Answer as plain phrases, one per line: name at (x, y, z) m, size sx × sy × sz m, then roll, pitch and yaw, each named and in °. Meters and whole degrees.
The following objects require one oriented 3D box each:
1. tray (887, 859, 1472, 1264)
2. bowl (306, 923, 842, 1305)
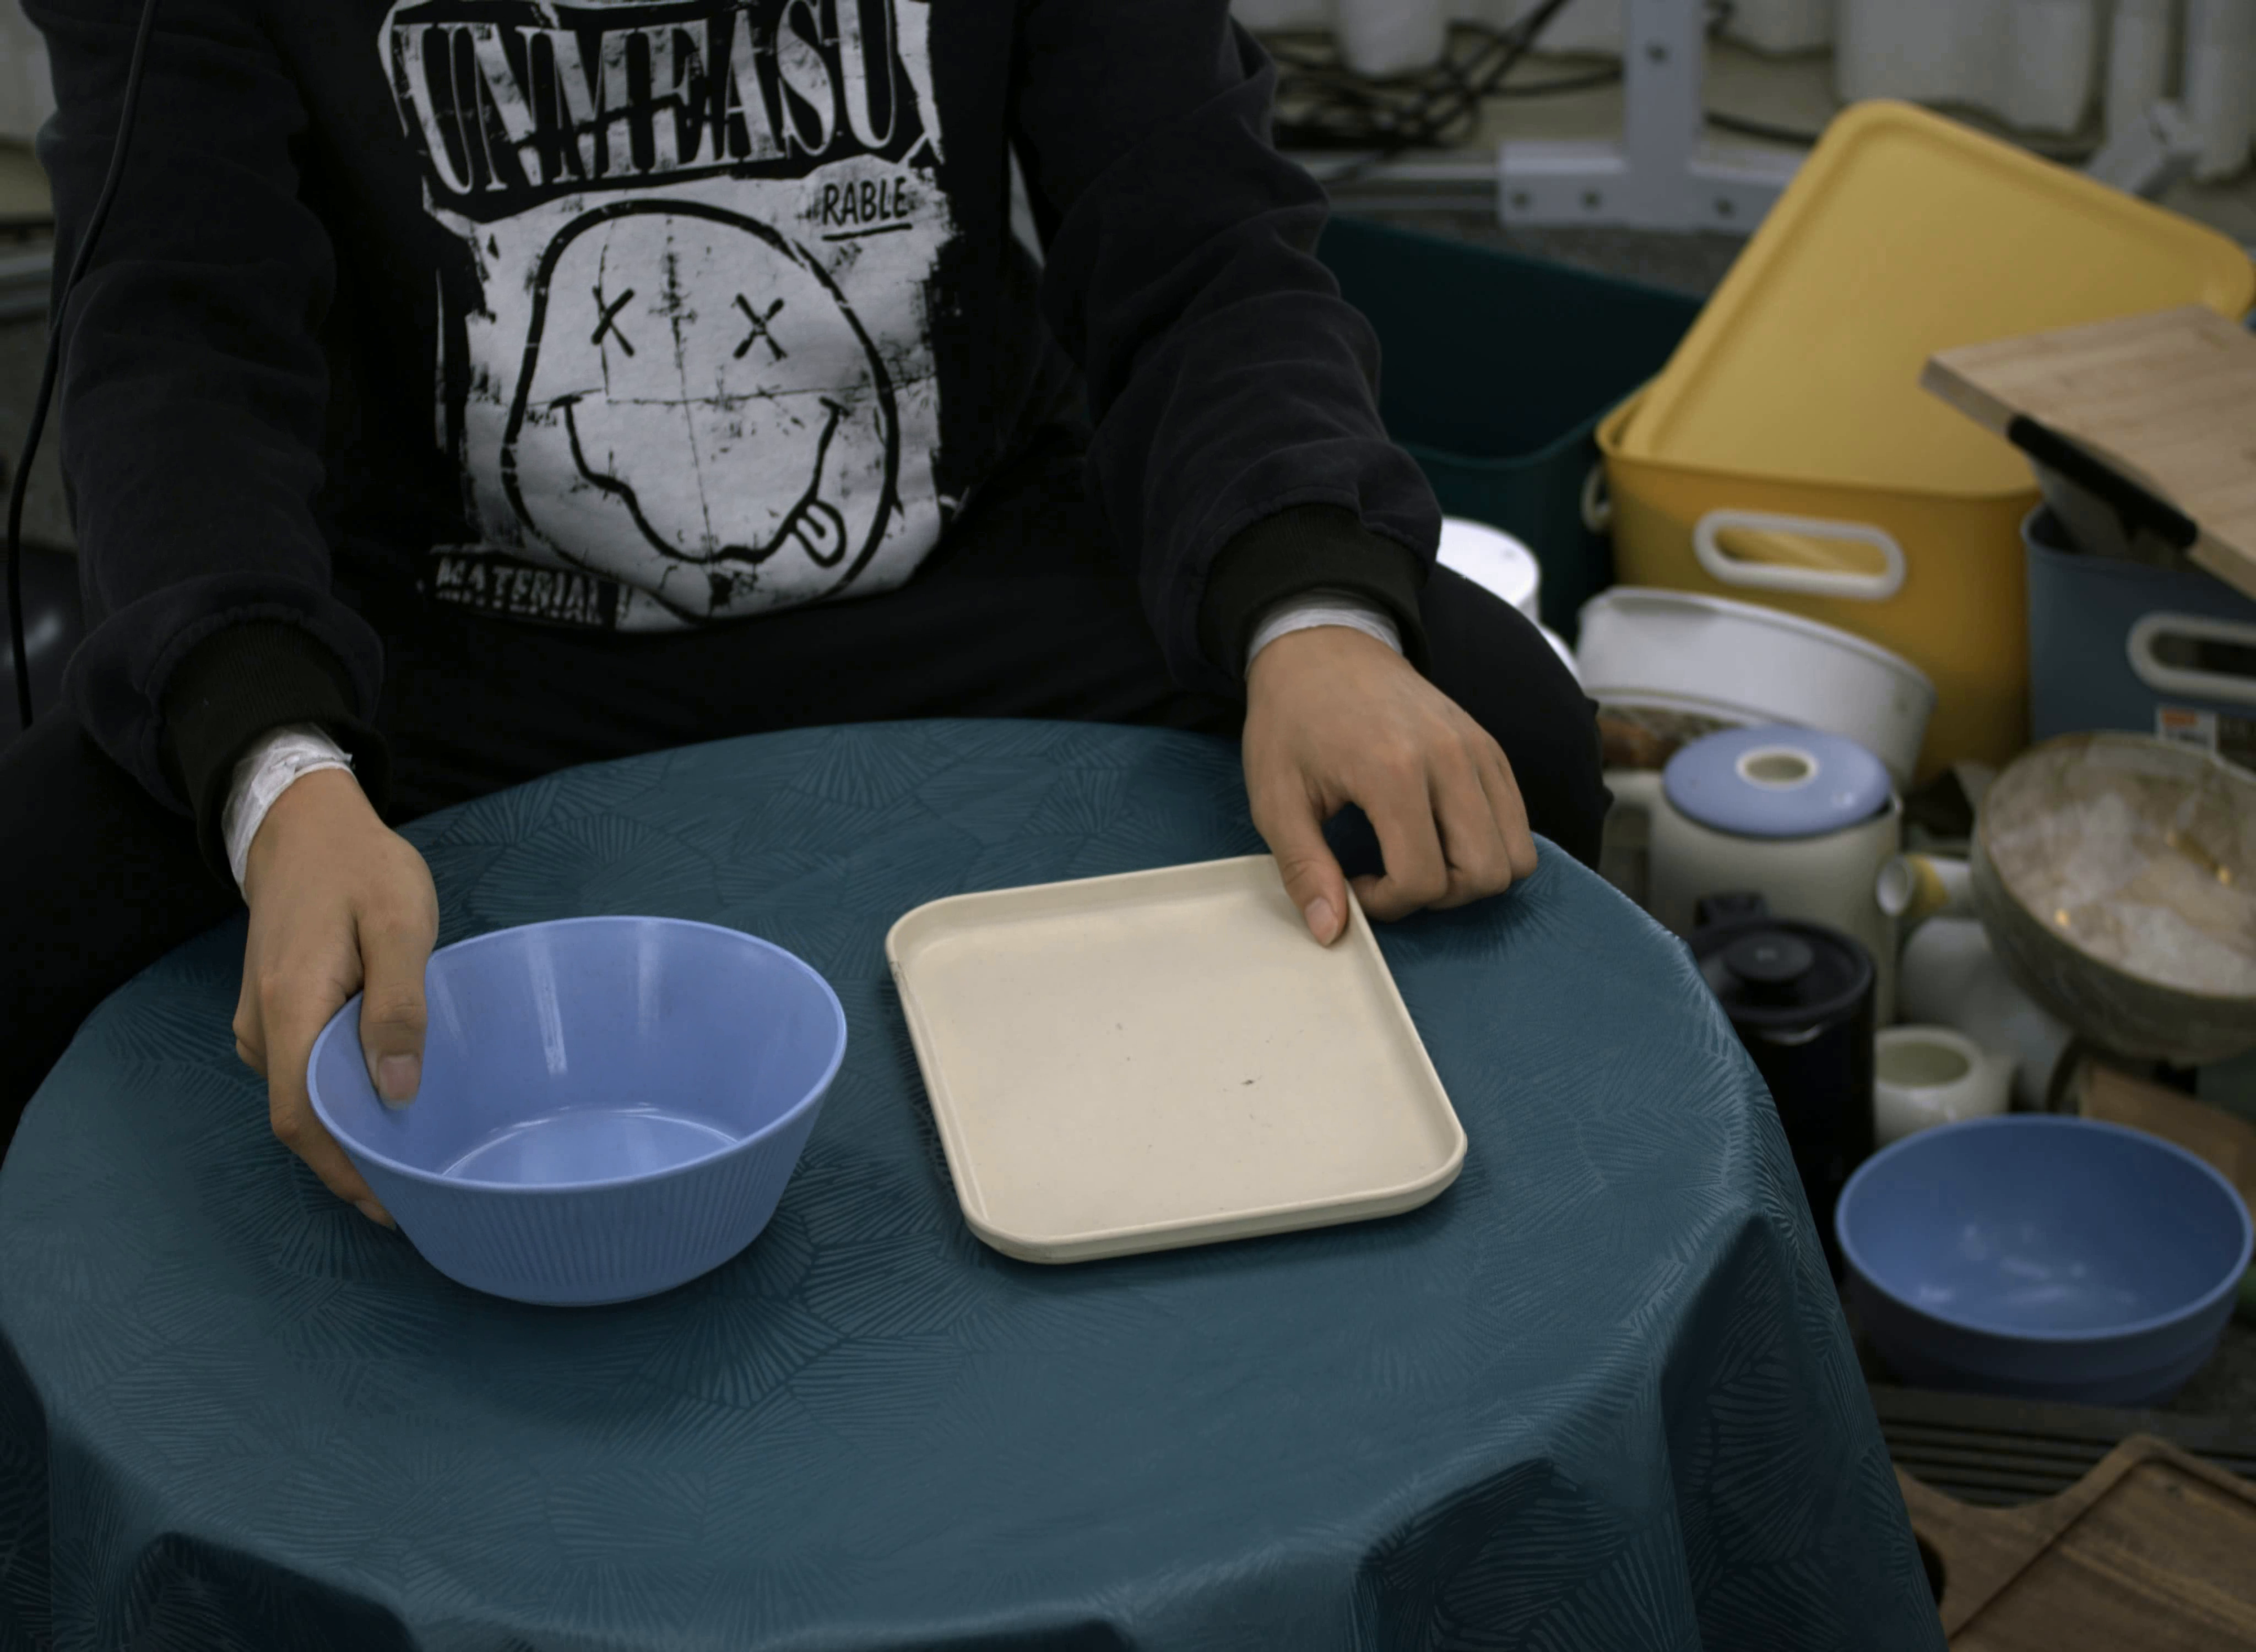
tray at (0.014, 0.079, 1.922) m, size 0.171 × 0.017 × 0.242 m, roll -7°, pitch 27°, yaw -8°
bowl at (-0.179, 0.101, 1.843) m, size 0.175 × 0.069 × 0.179 m, roll -1°, pitch 27°, yaw 1°
